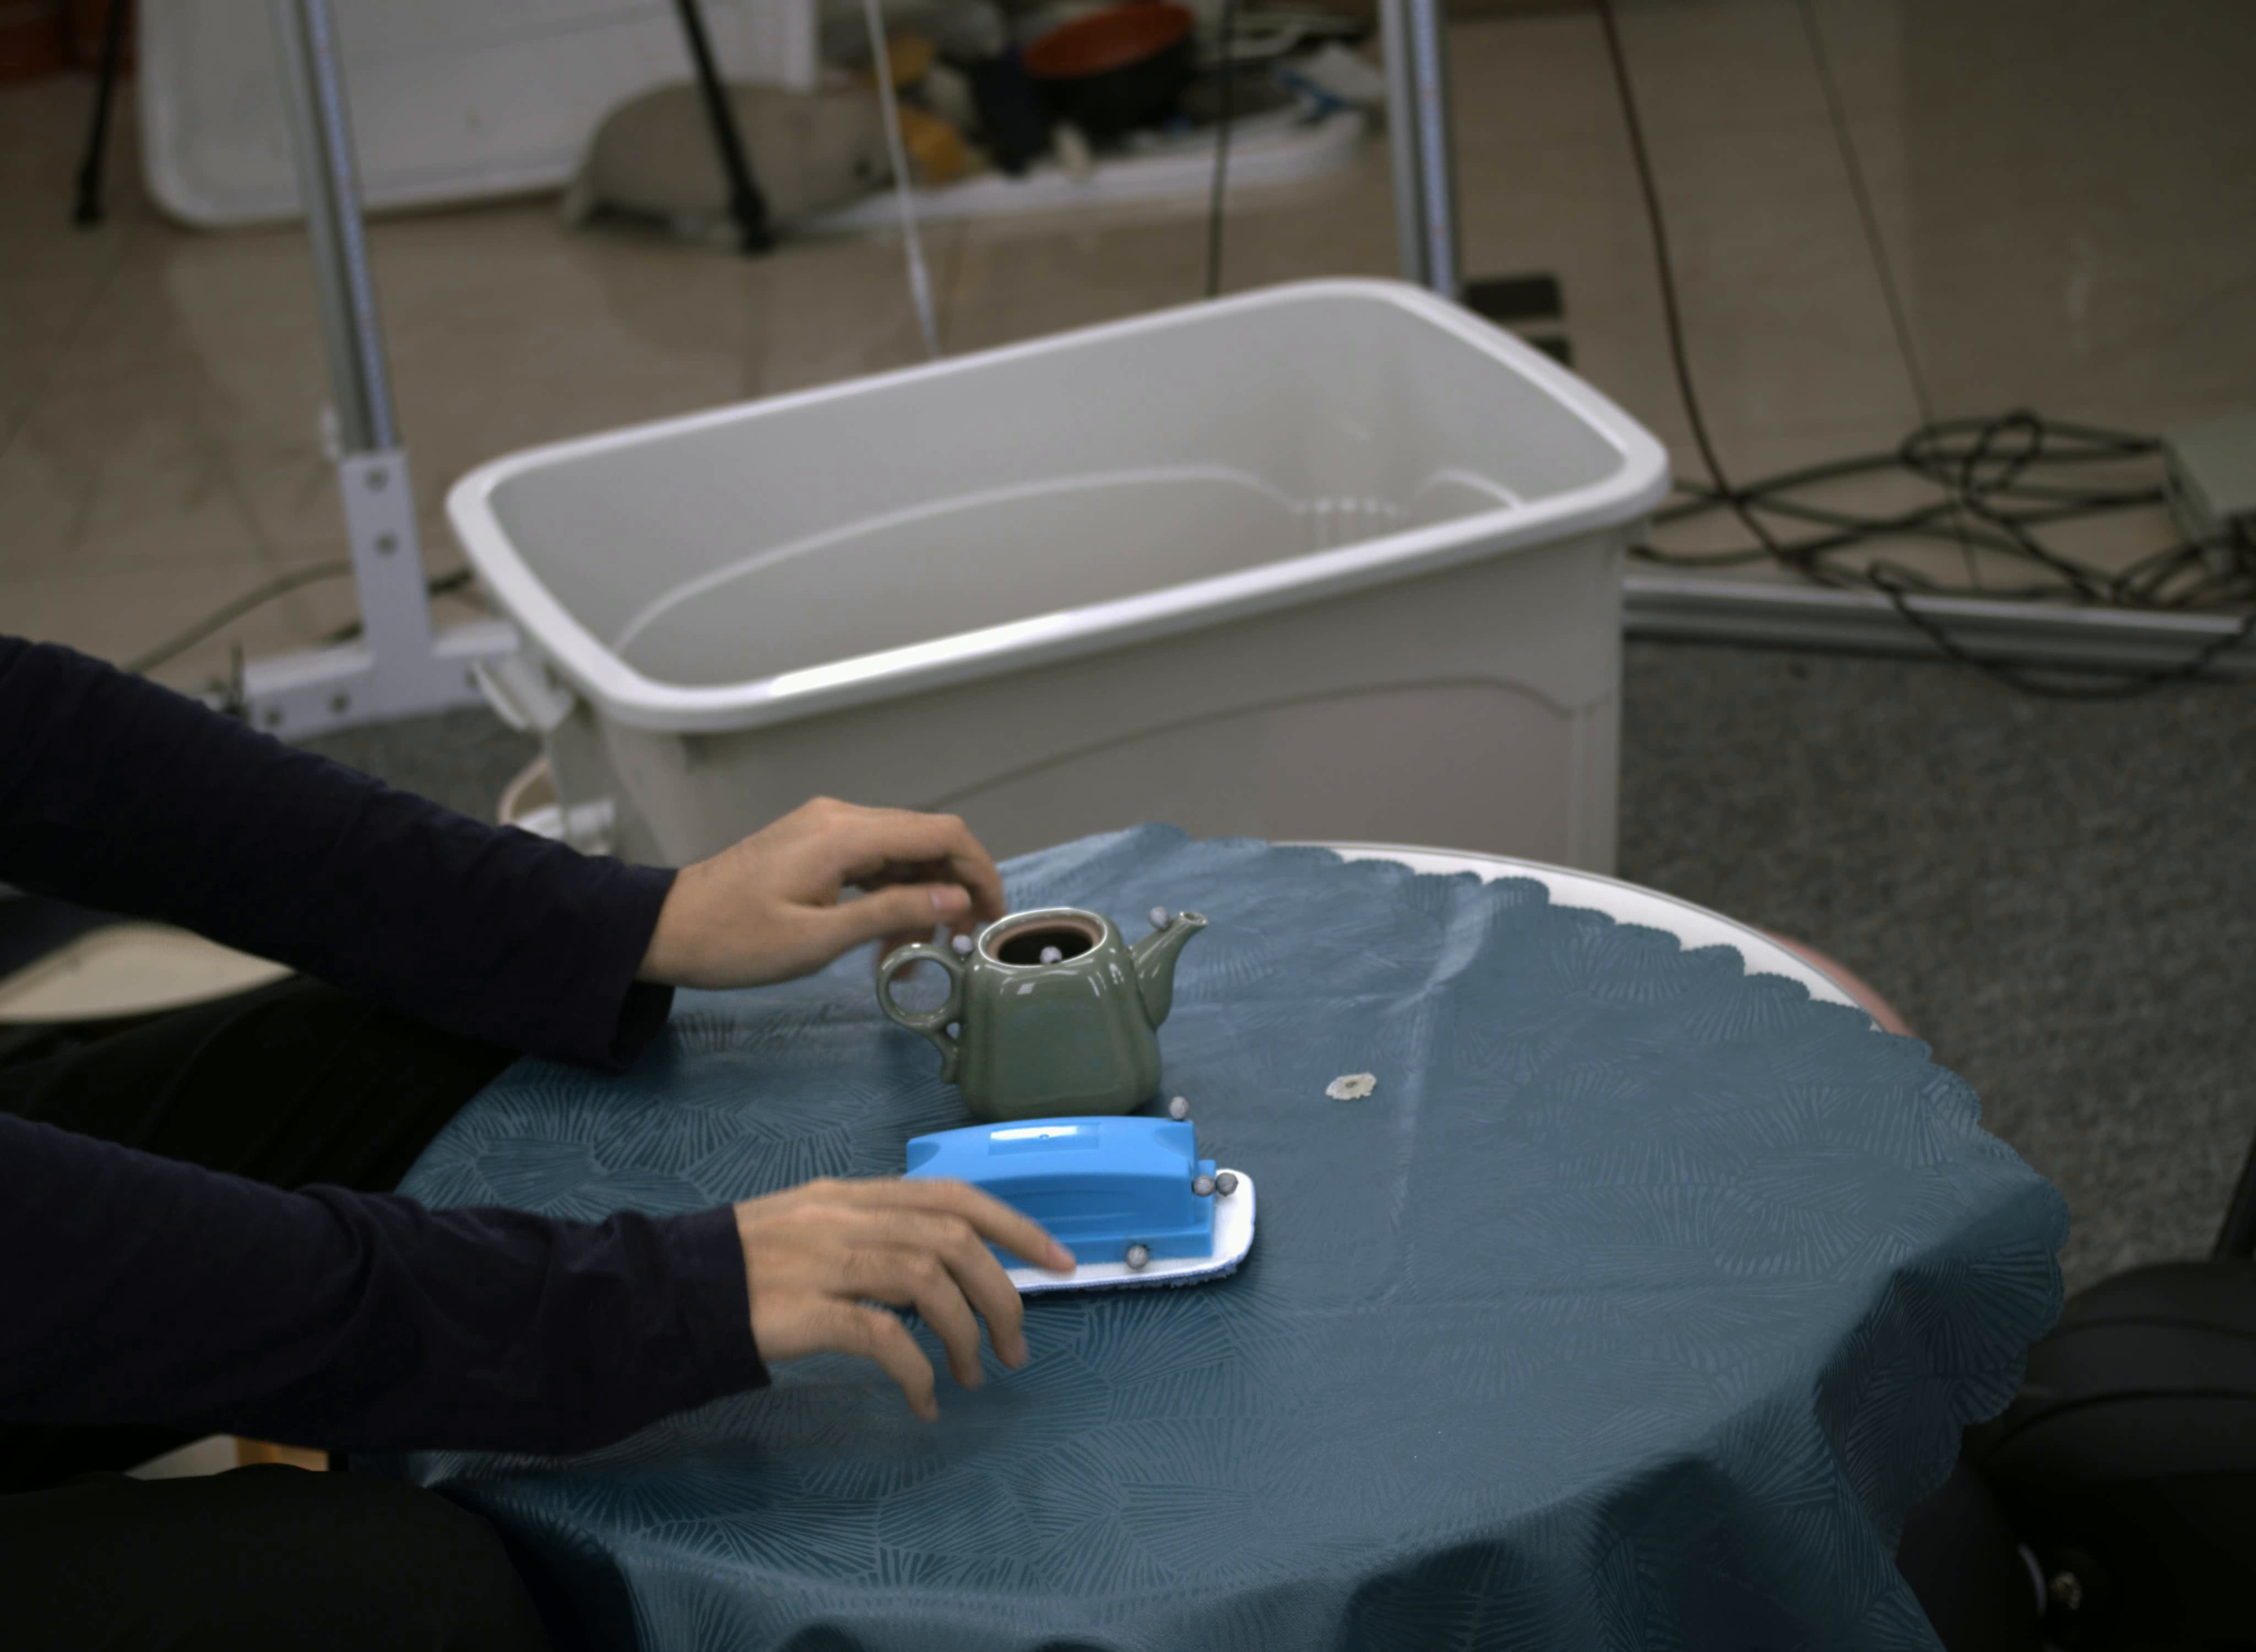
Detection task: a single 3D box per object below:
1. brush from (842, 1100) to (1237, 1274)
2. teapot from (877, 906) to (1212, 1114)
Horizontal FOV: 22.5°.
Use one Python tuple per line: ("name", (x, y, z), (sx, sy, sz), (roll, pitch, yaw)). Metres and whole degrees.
("brush", (-0.033, 0.132, 2.097), (0.144, 0.057, 0.083), (0, 22, 5))
("teapot", (-0.029, 0.073, 2.209), (0.132, 0.076, 0.078), (-9, 26, -1))
